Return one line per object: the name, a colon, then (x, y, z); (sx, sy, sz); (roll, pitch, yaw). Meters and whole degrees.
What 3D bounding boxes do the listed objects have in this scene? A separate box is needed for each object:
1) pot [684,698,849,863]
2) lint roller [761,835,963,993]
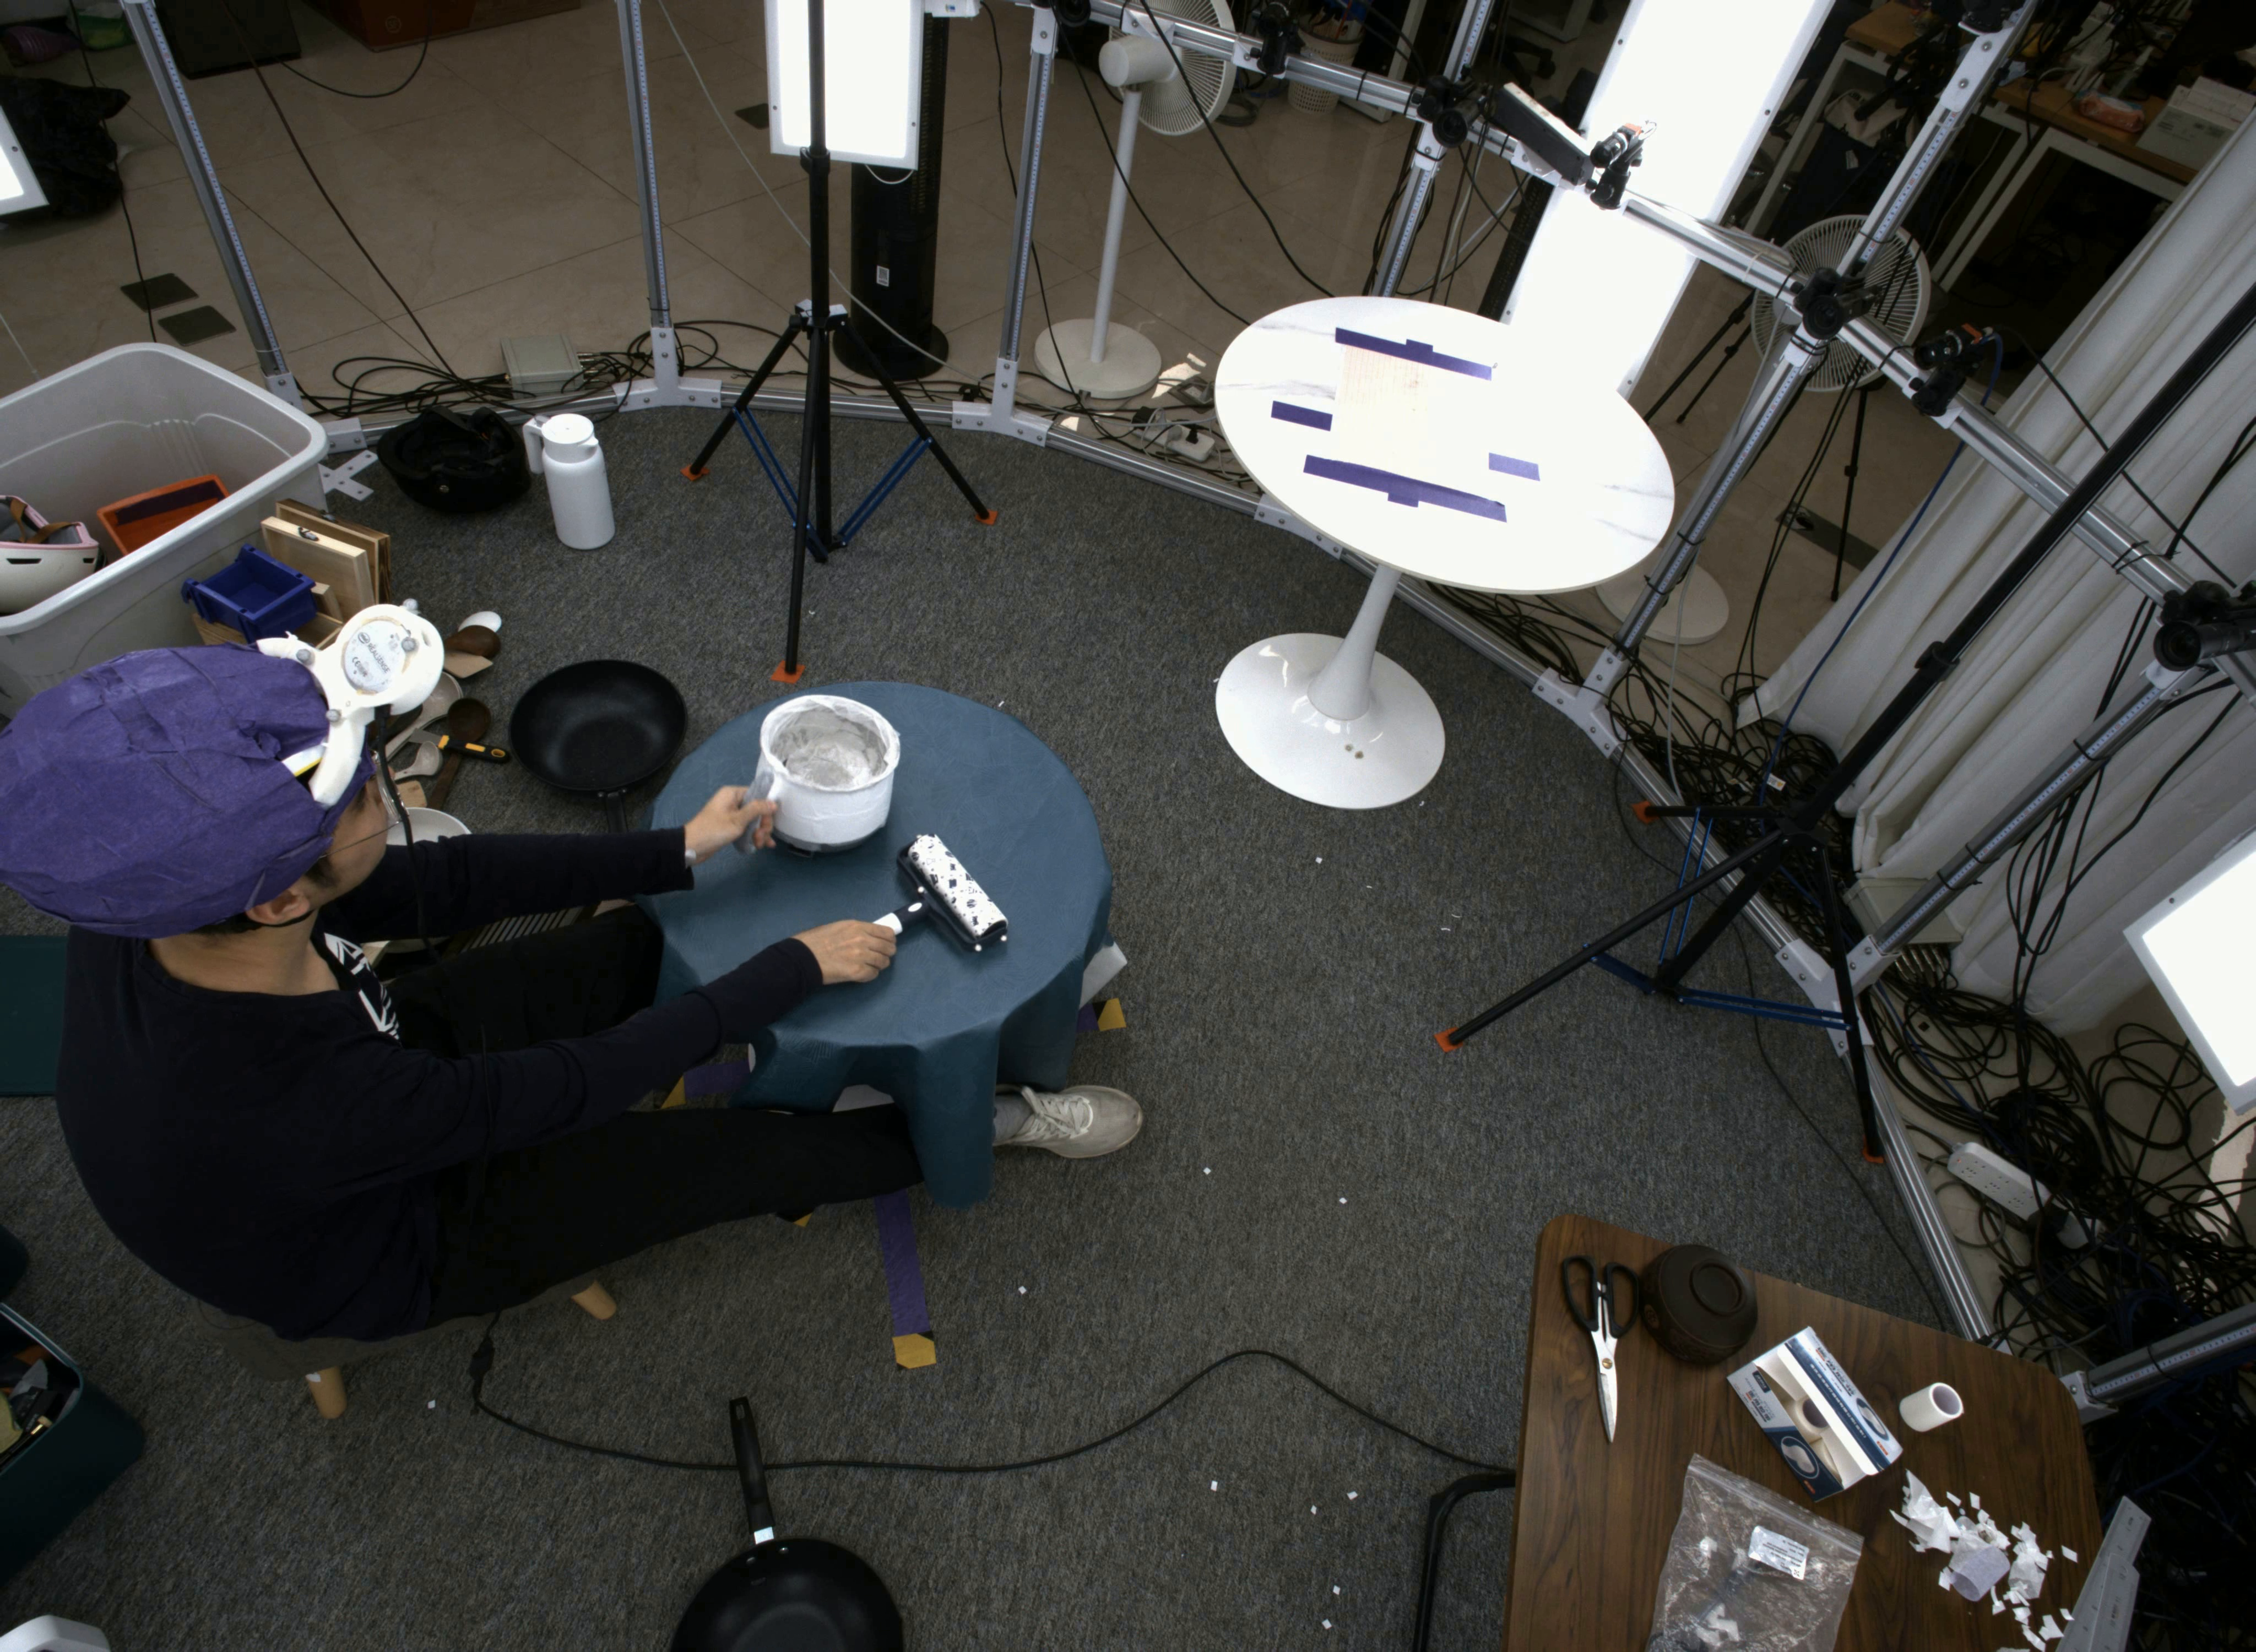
pot: (-0.469, -0.047, 1.652); (0.175, 0.139, 0.234); (32, 43, 15)
lint roller: (-0.351, 0.129, 1.630); (0.247, 0.051, 0.172); (-34, 69, -30)
